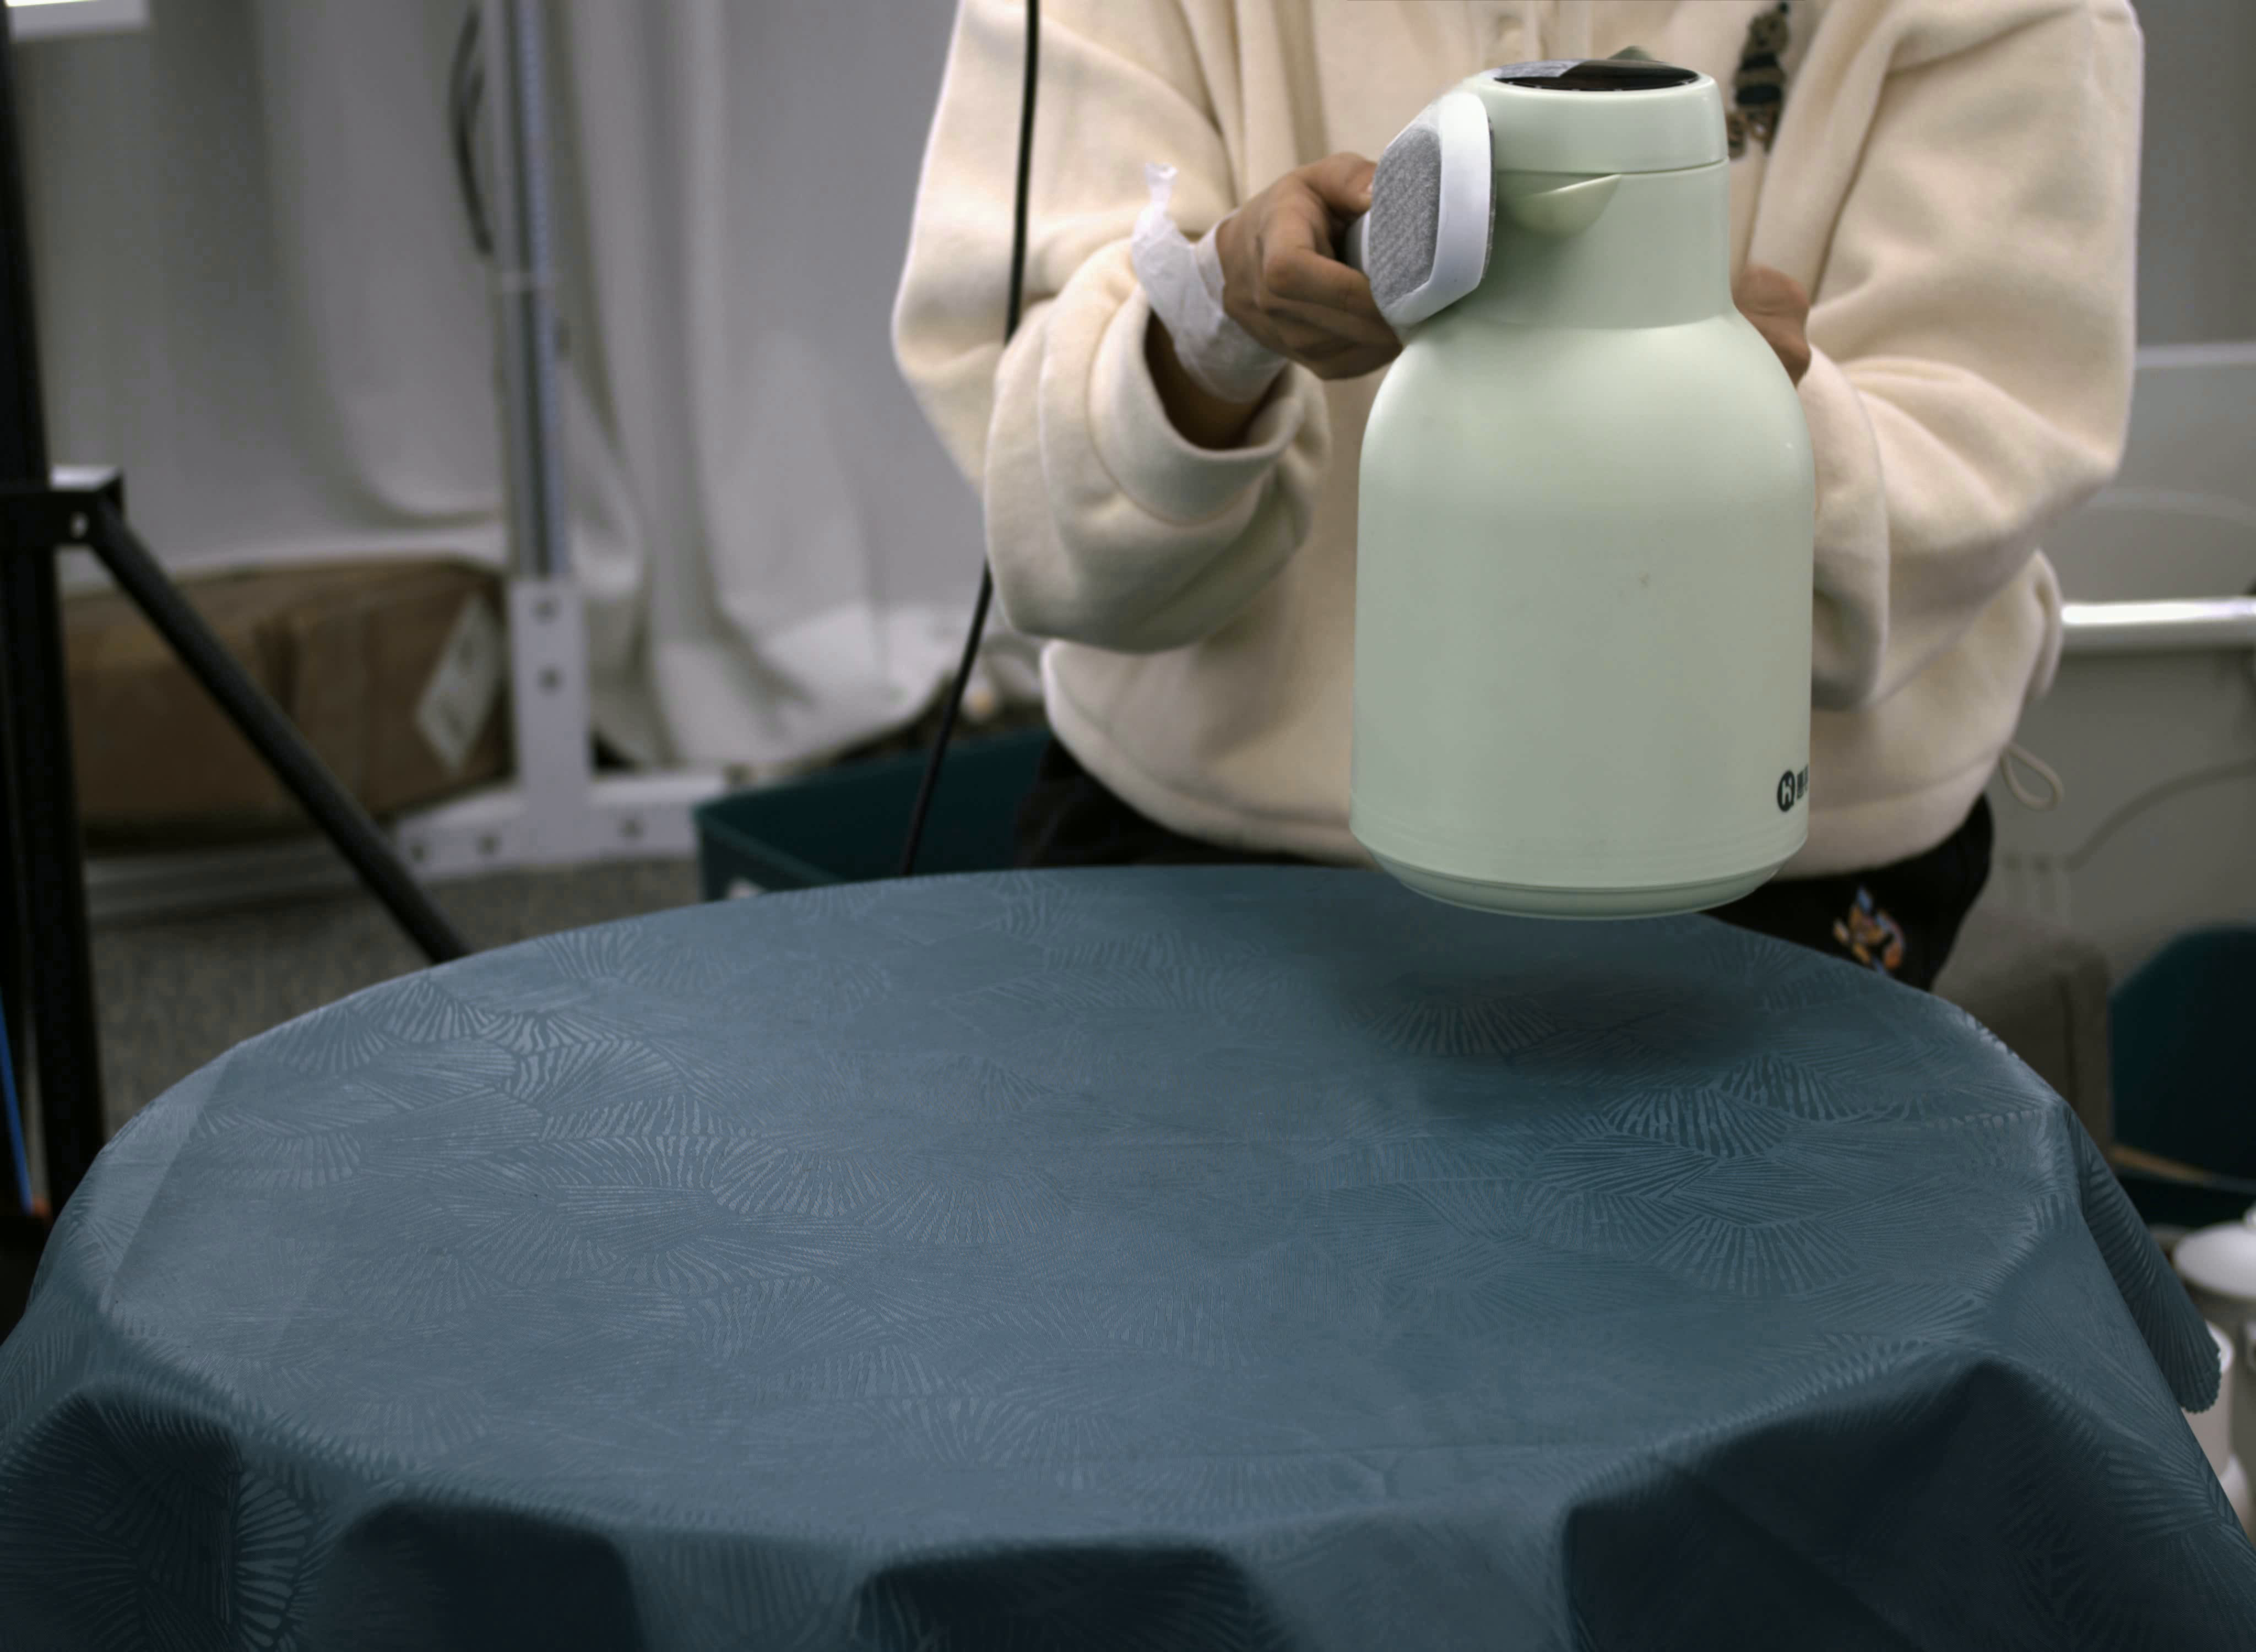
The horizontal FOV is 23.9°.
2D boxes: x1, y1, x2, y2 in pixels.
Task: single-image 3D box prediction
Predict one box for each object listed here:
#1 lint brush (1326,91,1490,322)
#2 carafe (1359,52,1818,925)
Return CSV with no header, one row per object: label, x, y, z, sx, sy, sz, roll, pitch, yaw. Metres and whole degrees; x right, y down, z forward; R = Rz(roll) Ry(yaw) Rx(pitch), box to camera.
lint brush,0.086,-0.188,1.671,0.021,0.060,0.309,1,1,-3
carafe,0.149,-0.108,1.660,0.146,0.257,0.184,4,11,23
